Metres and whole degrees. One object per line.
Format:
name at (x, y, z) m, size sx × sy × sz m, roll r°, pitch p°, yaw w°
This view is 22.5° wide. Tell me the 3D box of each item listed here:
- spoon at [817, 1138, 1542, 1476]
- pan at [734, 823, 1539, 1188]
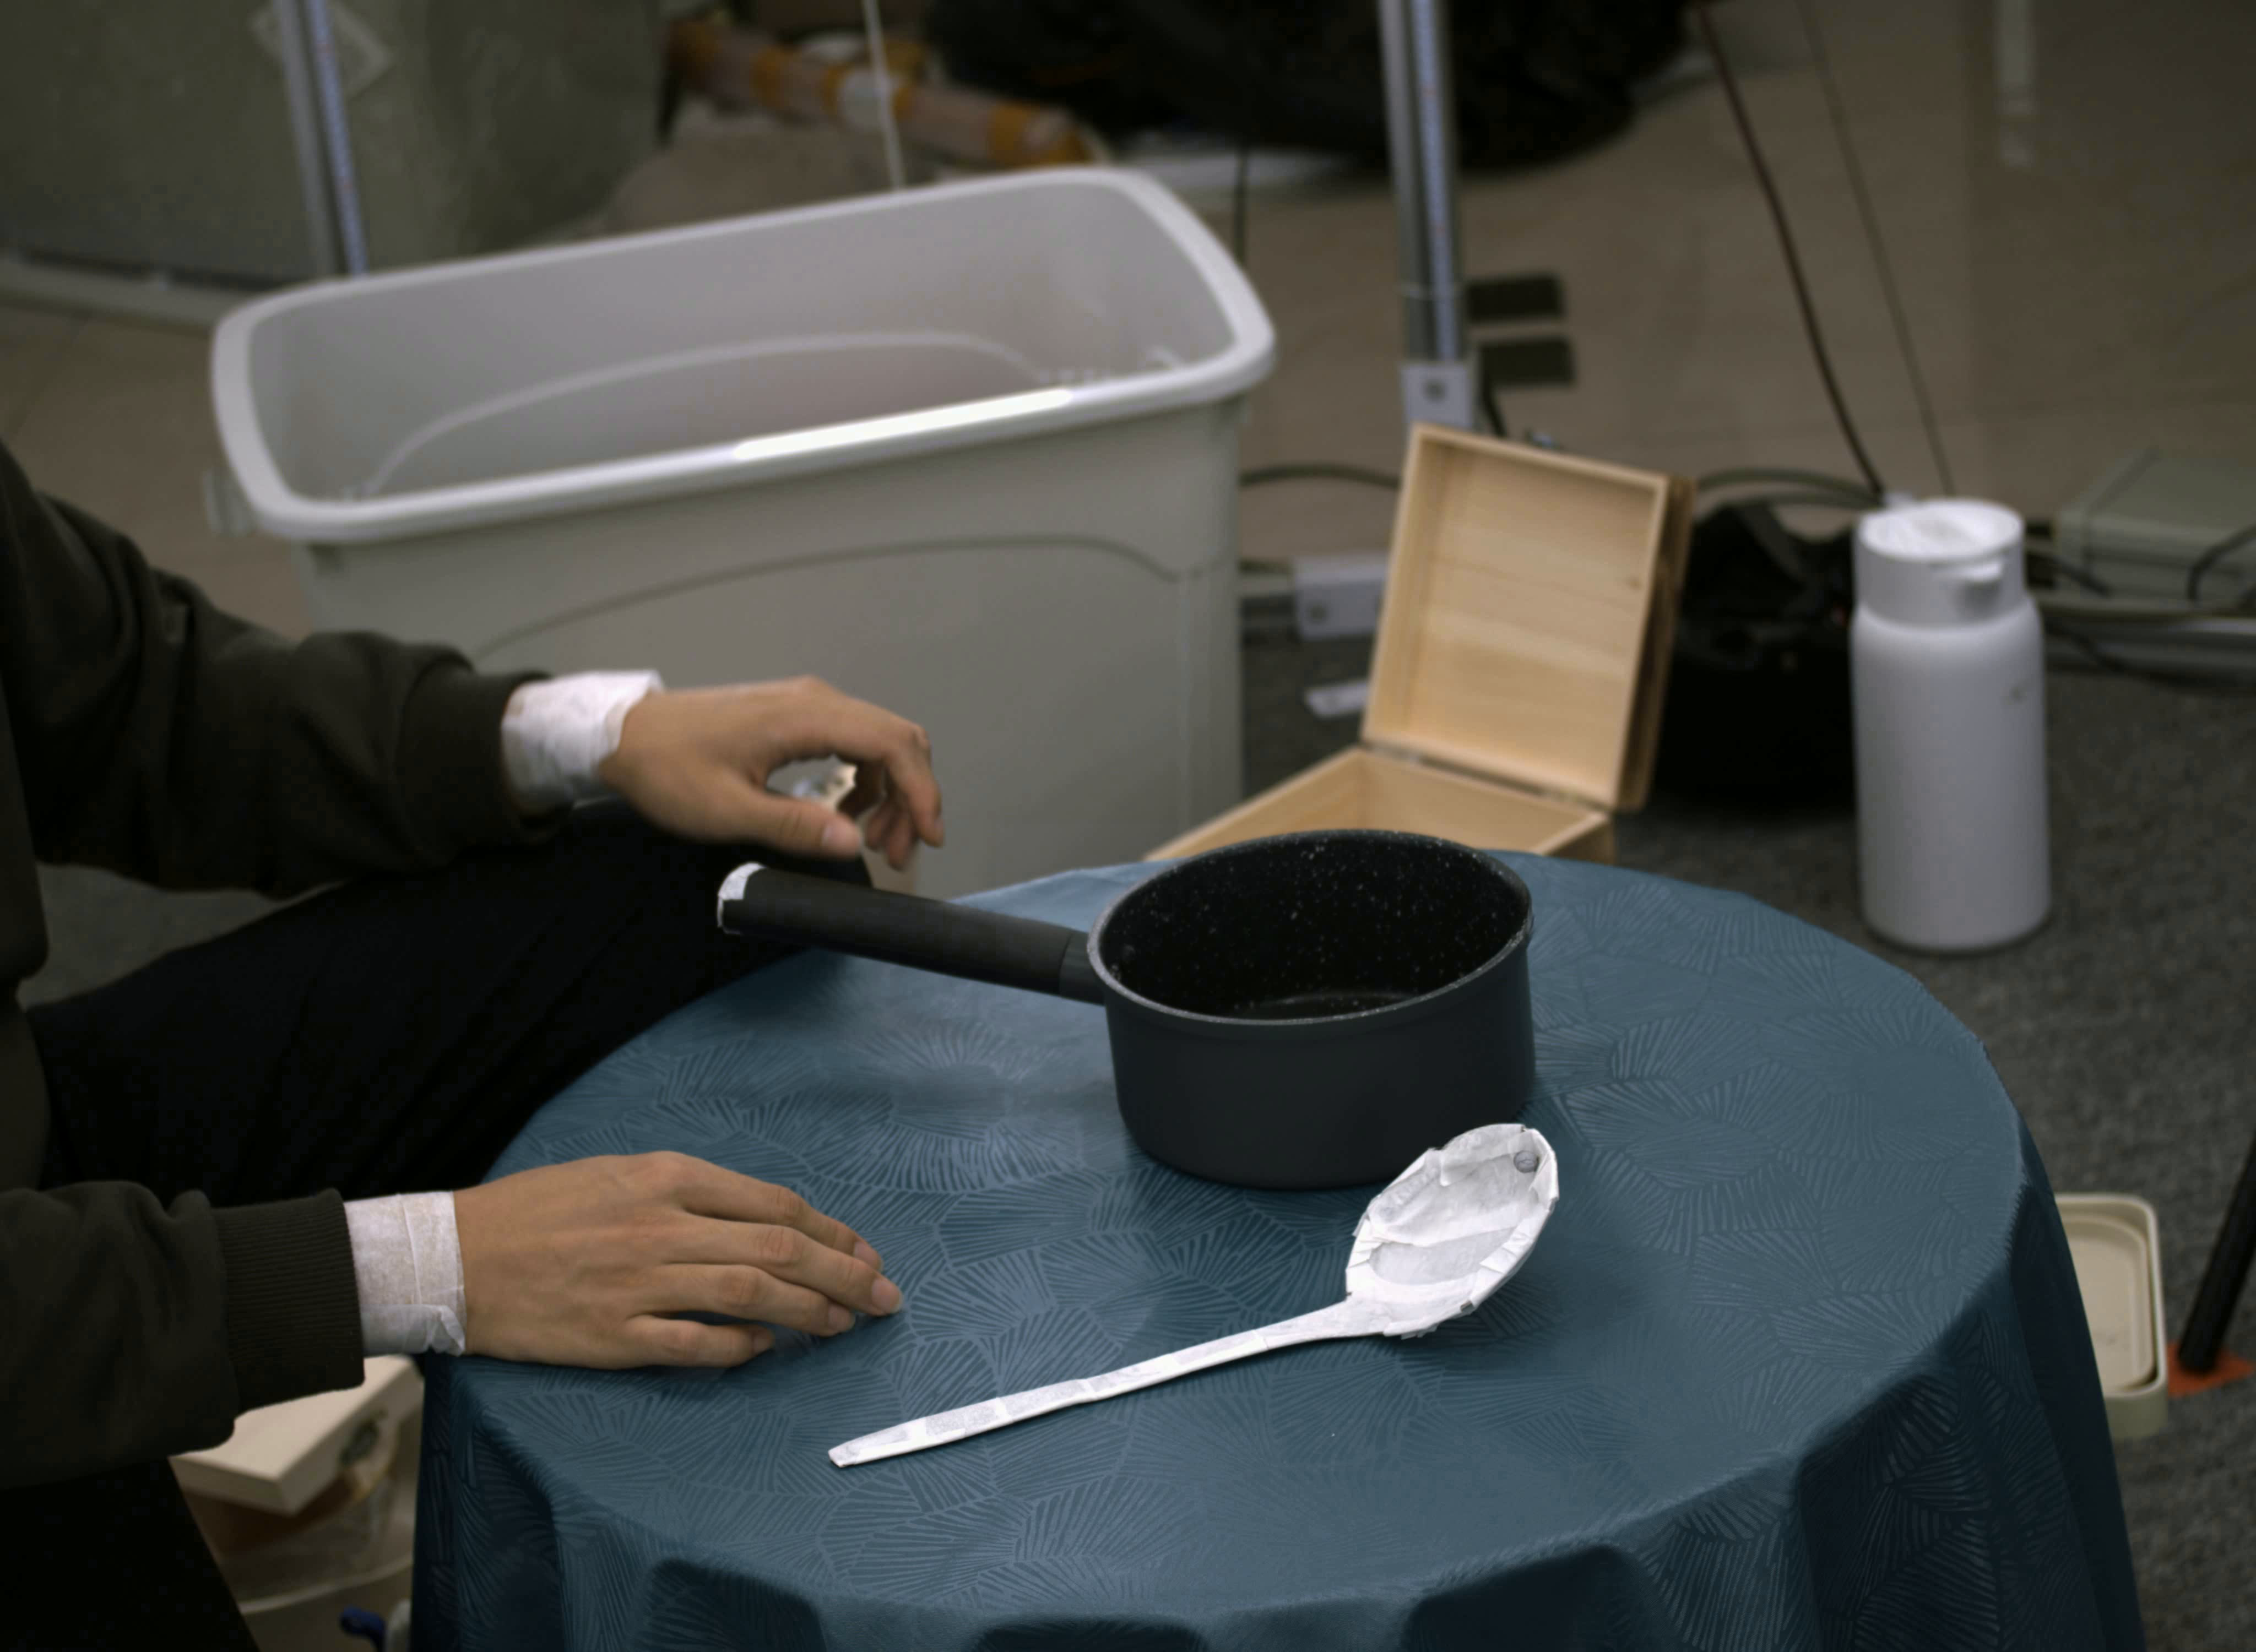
spoon at (0.017, 0.170, 2.028) m, size 0.276 × 0.060 × 0.100 m, roll -13°, pitch 15°, yaw -12°
pan at (0.001, 0.063, 2.215) m, size 0.328 × 0.088 × 0.170 m, roll 5°, pitch 26°, yaw 21°
